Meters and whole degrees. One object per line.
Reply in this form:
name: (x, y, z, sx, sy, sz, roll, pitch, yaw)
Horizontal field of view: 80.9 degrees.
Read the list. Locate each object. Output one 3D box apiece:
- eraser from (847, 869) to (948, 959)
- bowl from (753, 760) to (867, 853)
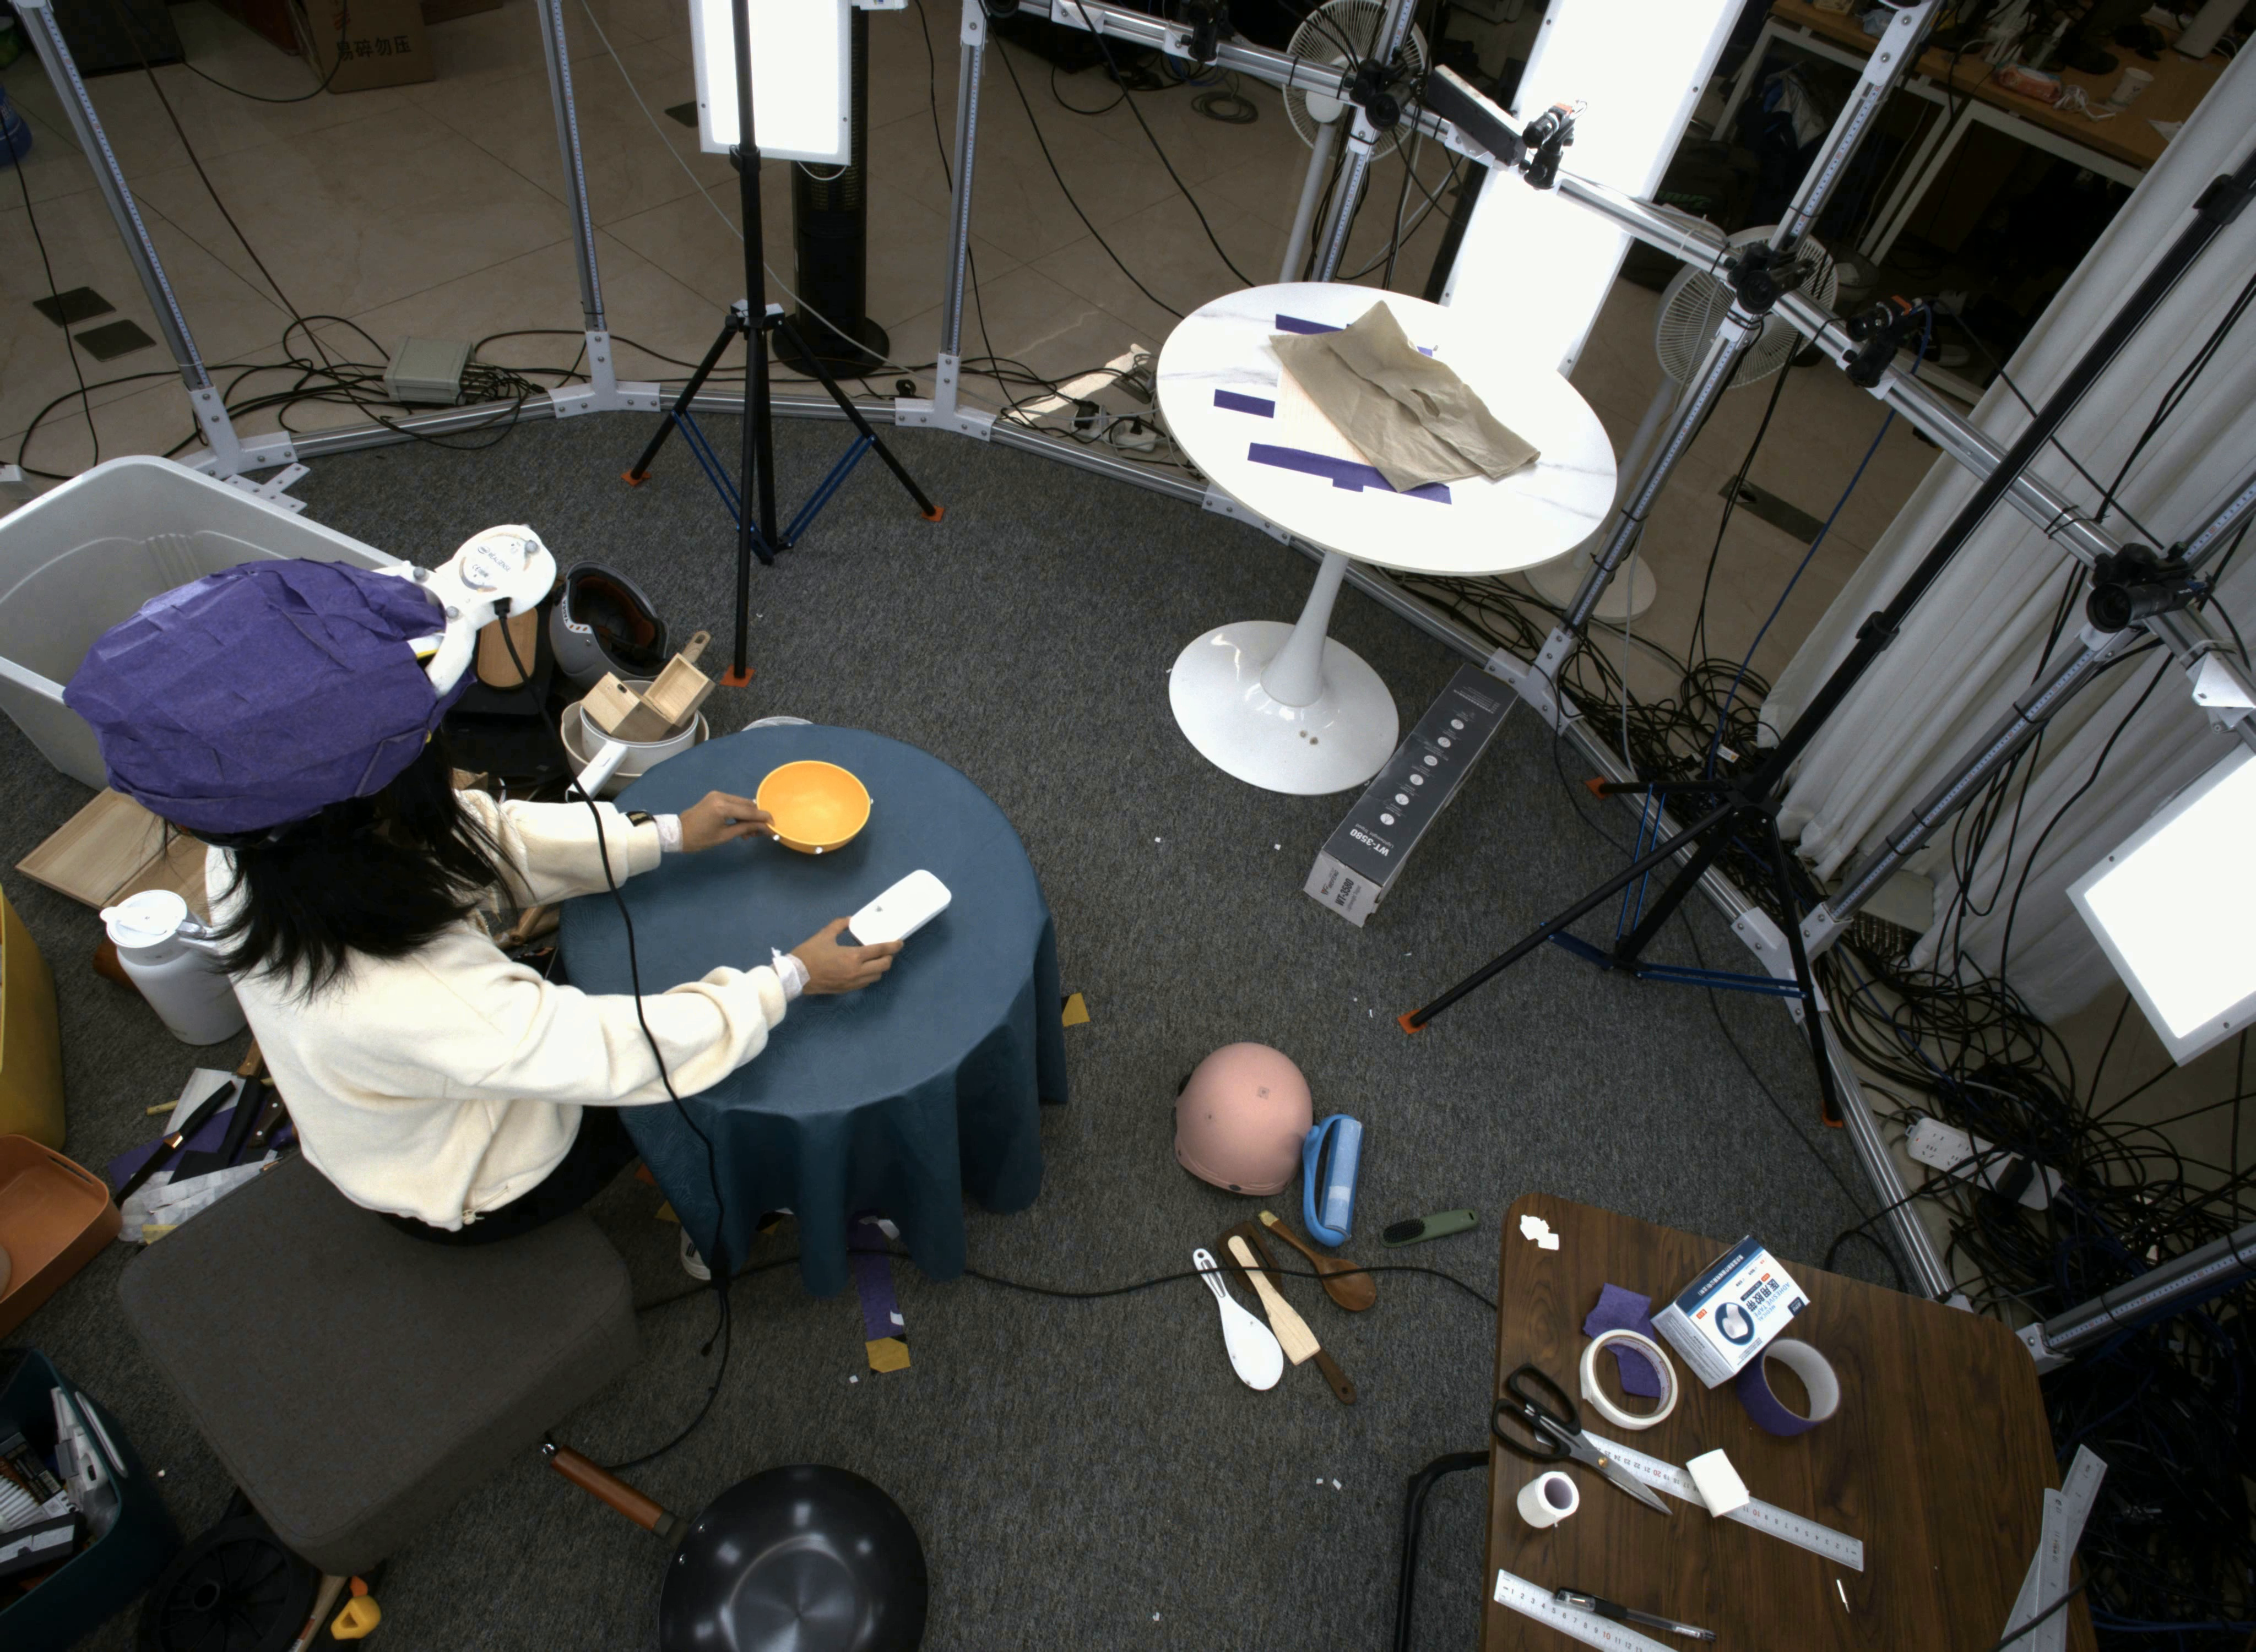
eraser: (-0.287, 0.105, 1.618, 0.062, 0.035, 0.131, 41, 56, 16)
bowl: (-0.416, -0.014, 1.690, 0.146, 0.061, 0.142, 13, 46, -12)
